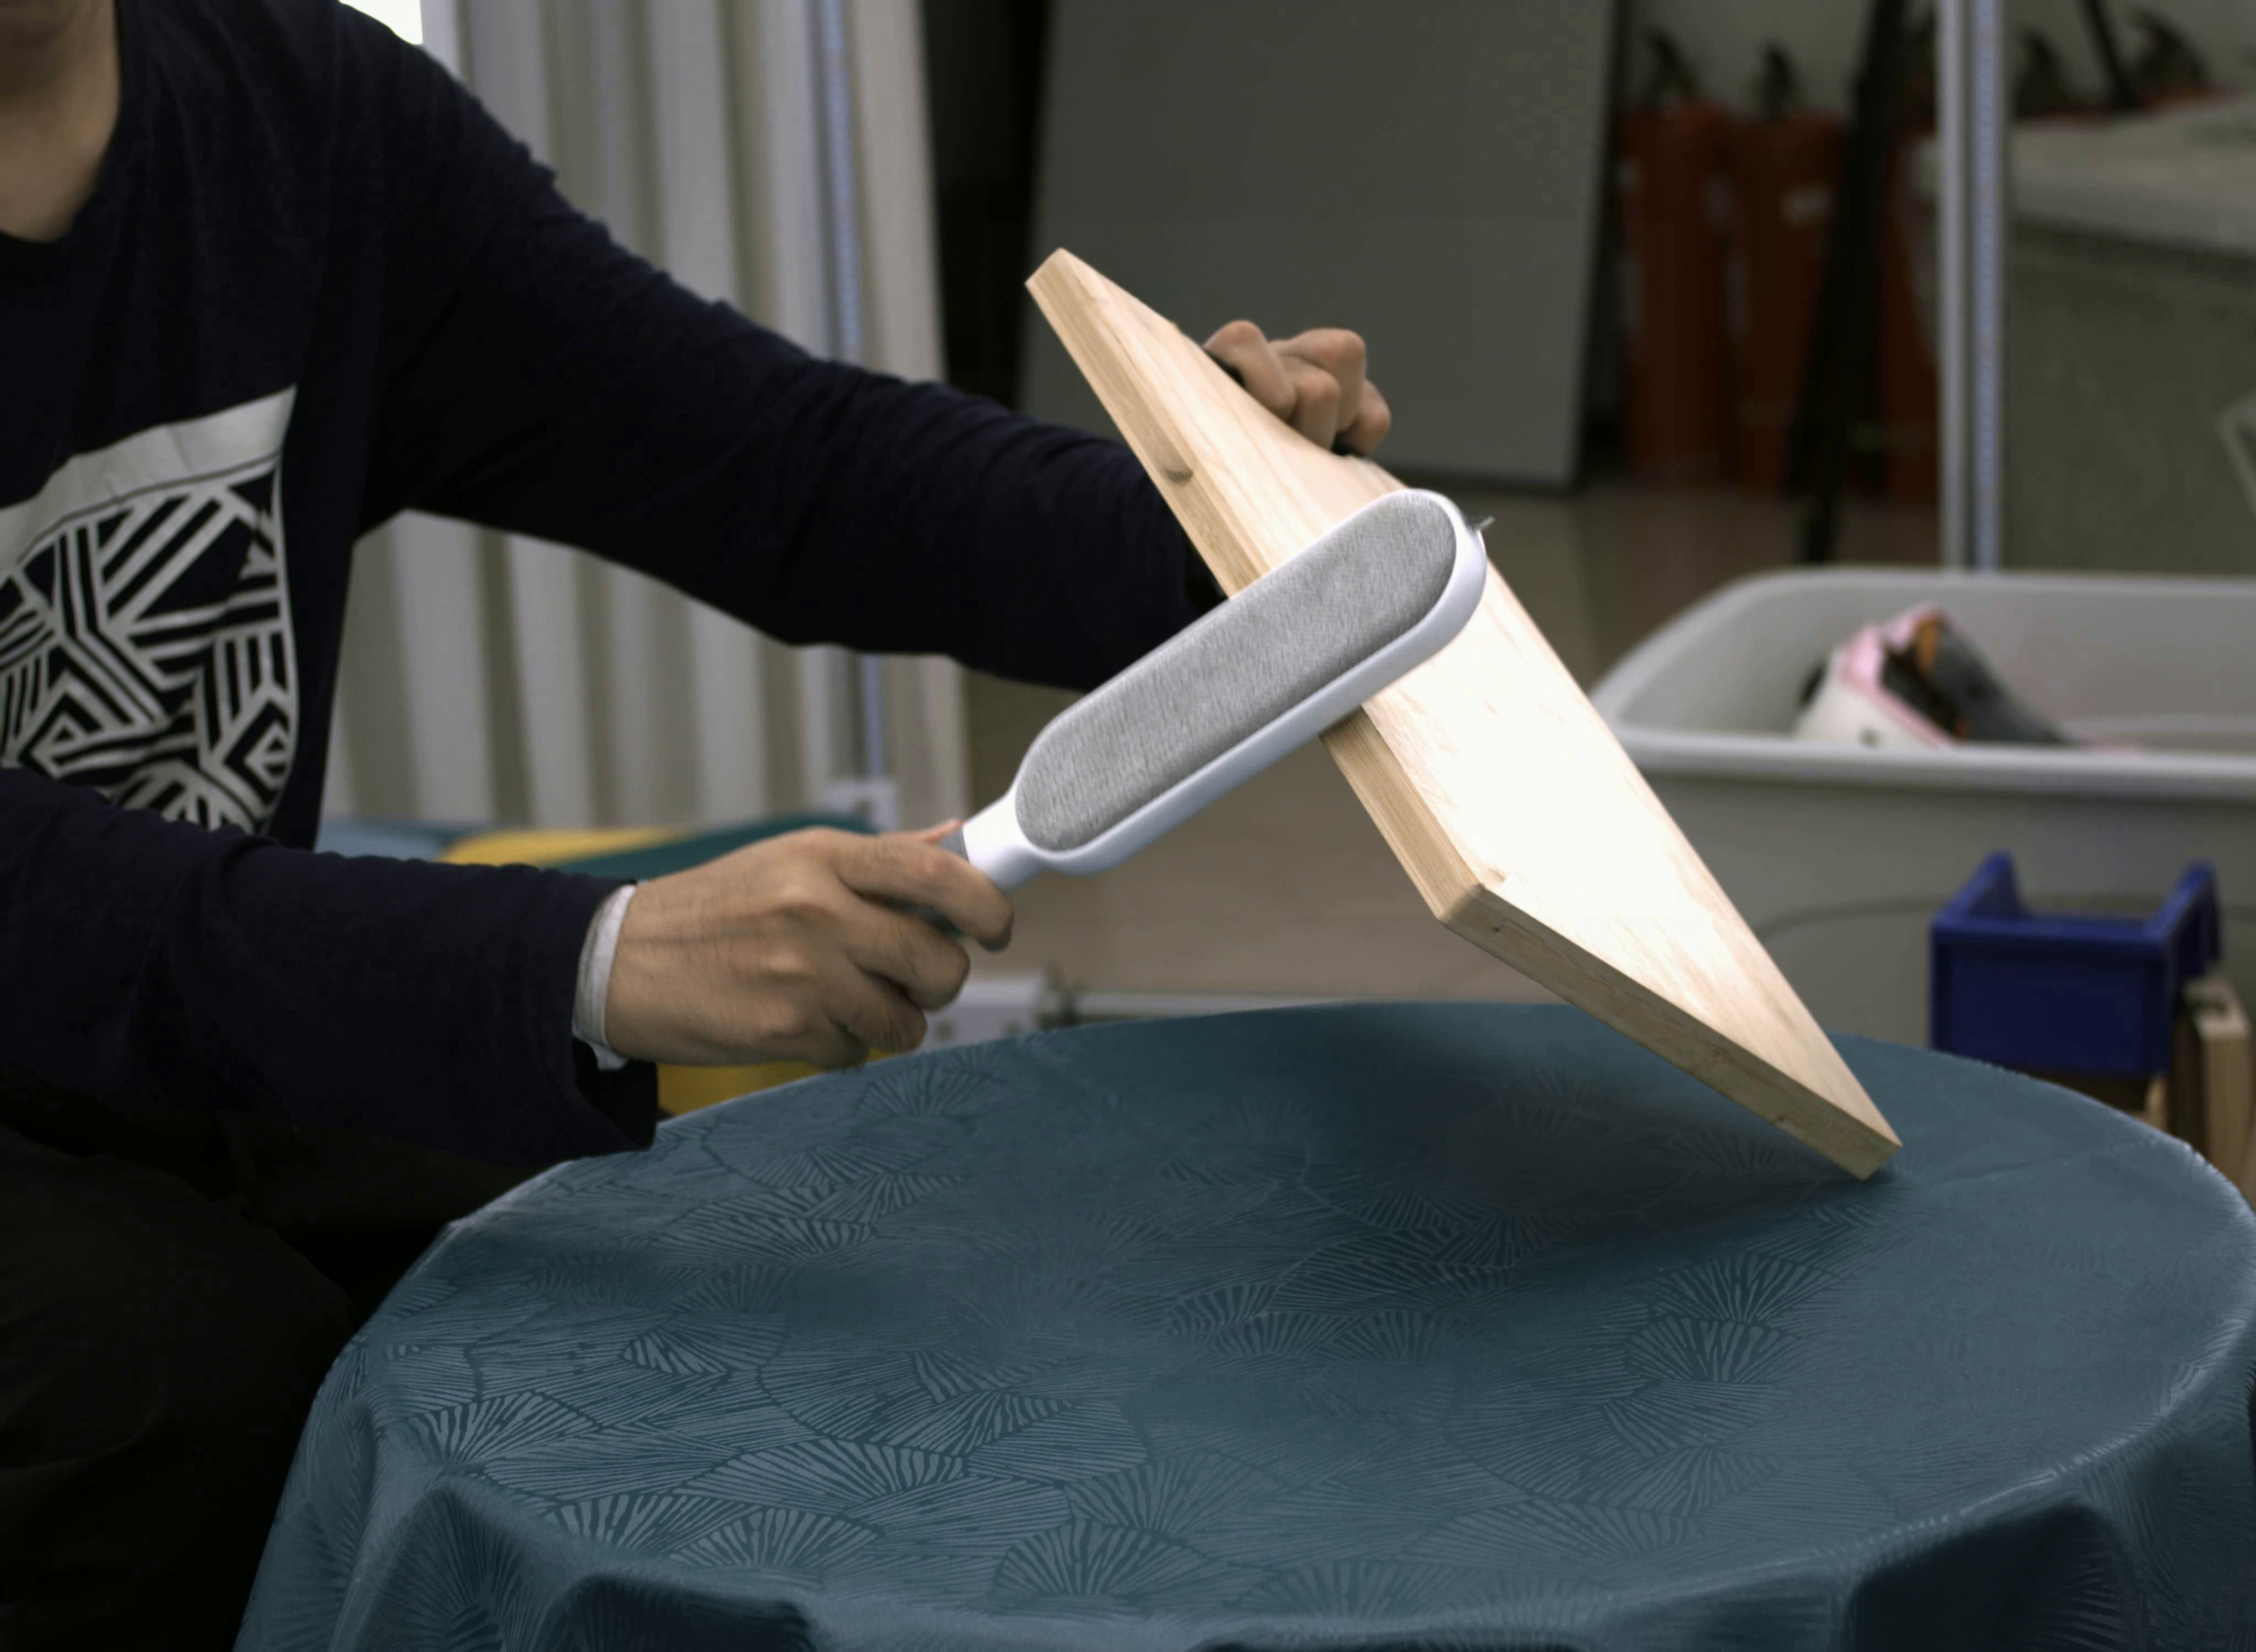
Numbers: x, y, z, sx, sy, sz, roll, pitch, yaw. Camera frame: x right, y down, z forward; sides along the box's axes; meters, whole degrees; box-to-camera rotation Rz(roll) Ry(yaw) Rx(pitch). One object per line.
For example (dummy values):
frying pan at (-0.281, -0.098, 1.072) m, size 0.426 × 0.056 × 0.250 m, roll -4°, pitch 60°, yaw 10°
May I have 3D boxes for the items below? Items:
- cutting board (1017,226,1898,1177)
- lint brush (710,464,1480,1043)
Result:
cutting board at (0.104, -0.044, 1.776) m, size 0.246 × 0.024 × 0.353 m, roll 32°, pitch 19°, yaw -43°
lint brush at (-0.015, -0.017, 1.676) m, size 0.310 × 0.061 × 0.020 m, roll -34°, pitch -38°, yaw 24°
